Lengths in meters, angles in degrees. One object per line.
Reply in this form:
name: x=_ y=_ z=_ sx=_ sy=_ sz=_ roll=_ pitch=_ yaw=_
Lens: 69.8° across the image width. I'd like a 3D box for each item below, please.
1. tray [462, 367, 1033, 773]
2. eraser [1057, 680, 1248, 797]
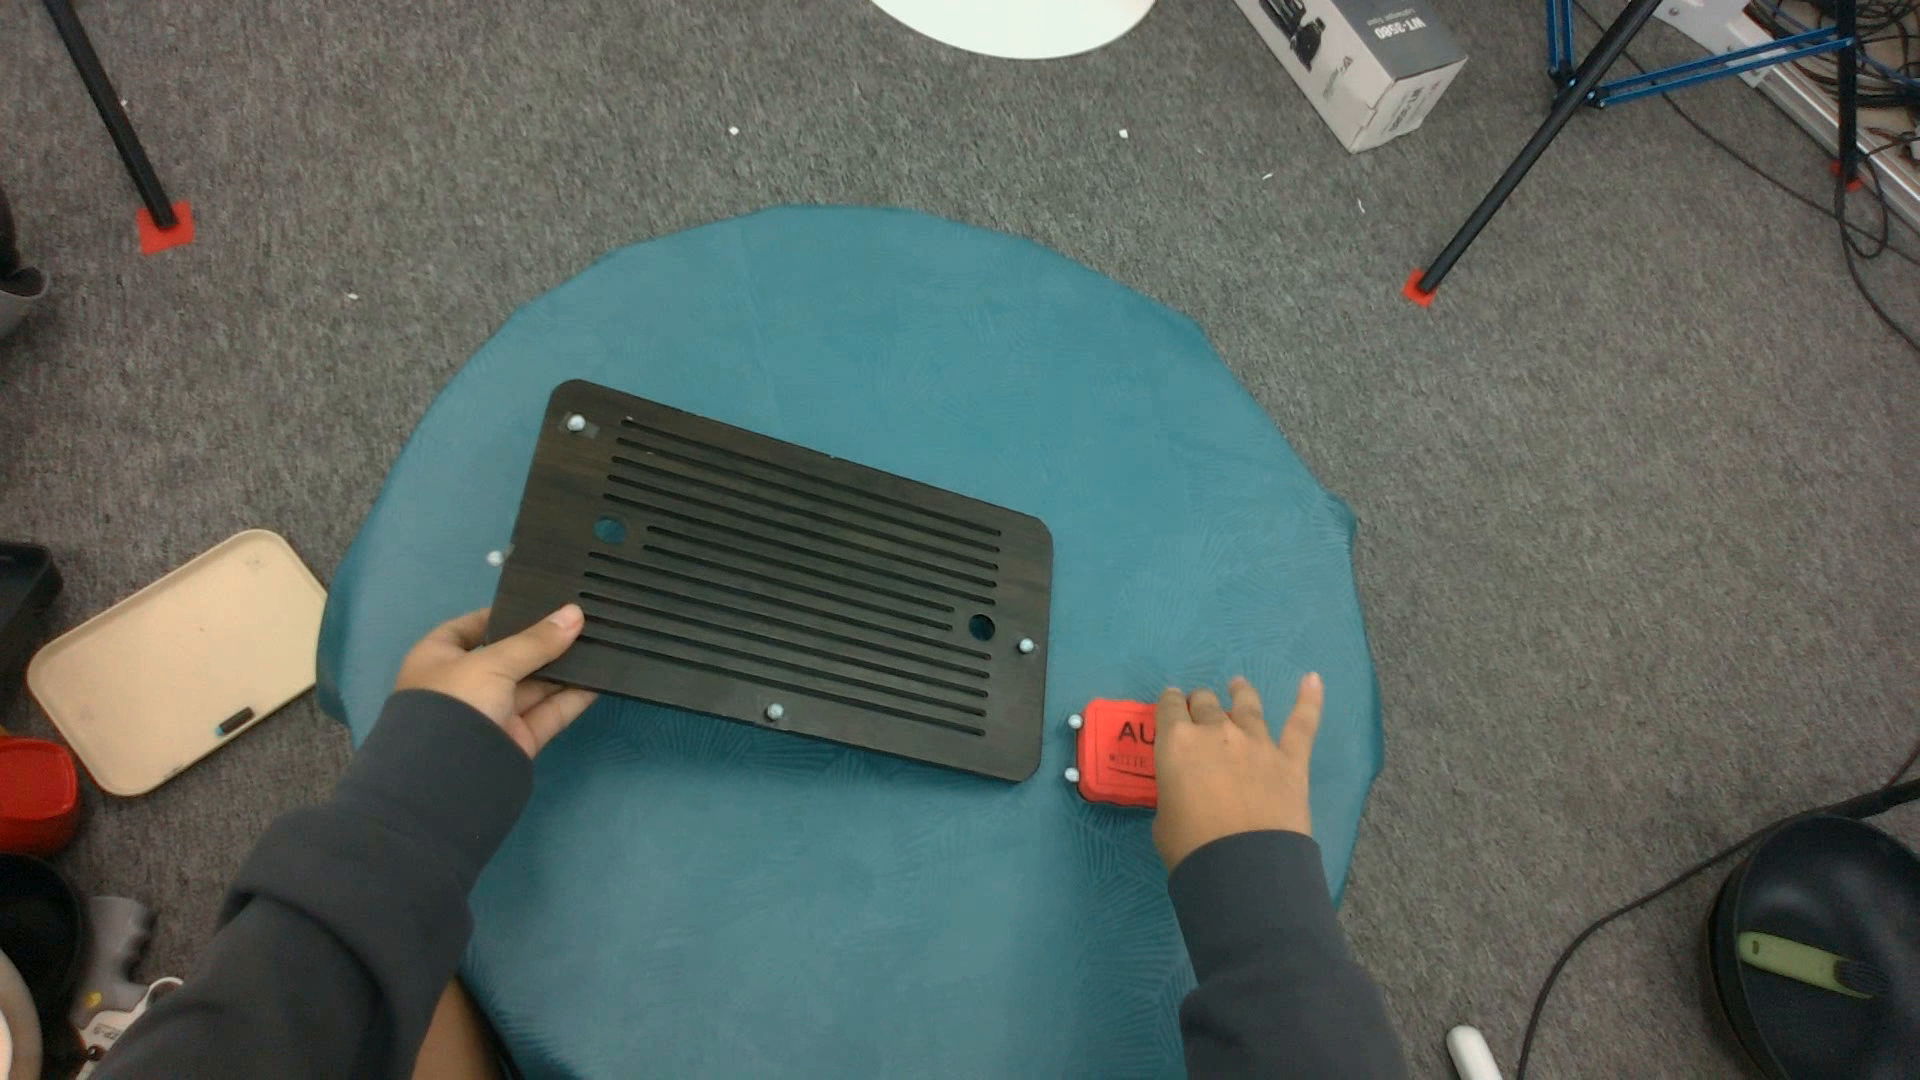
tray: x=-0.100 y=0.020 z=0.754 sx=0.306 sy=0.018 sz=0.171 roll=16 pitch=60 yaw=-22
eraser: x=0.110 y=0.114 z=0.791 sx=0.108 sy=0.023 sz=0.059 roll=7 pitch=63 yaw=-12
